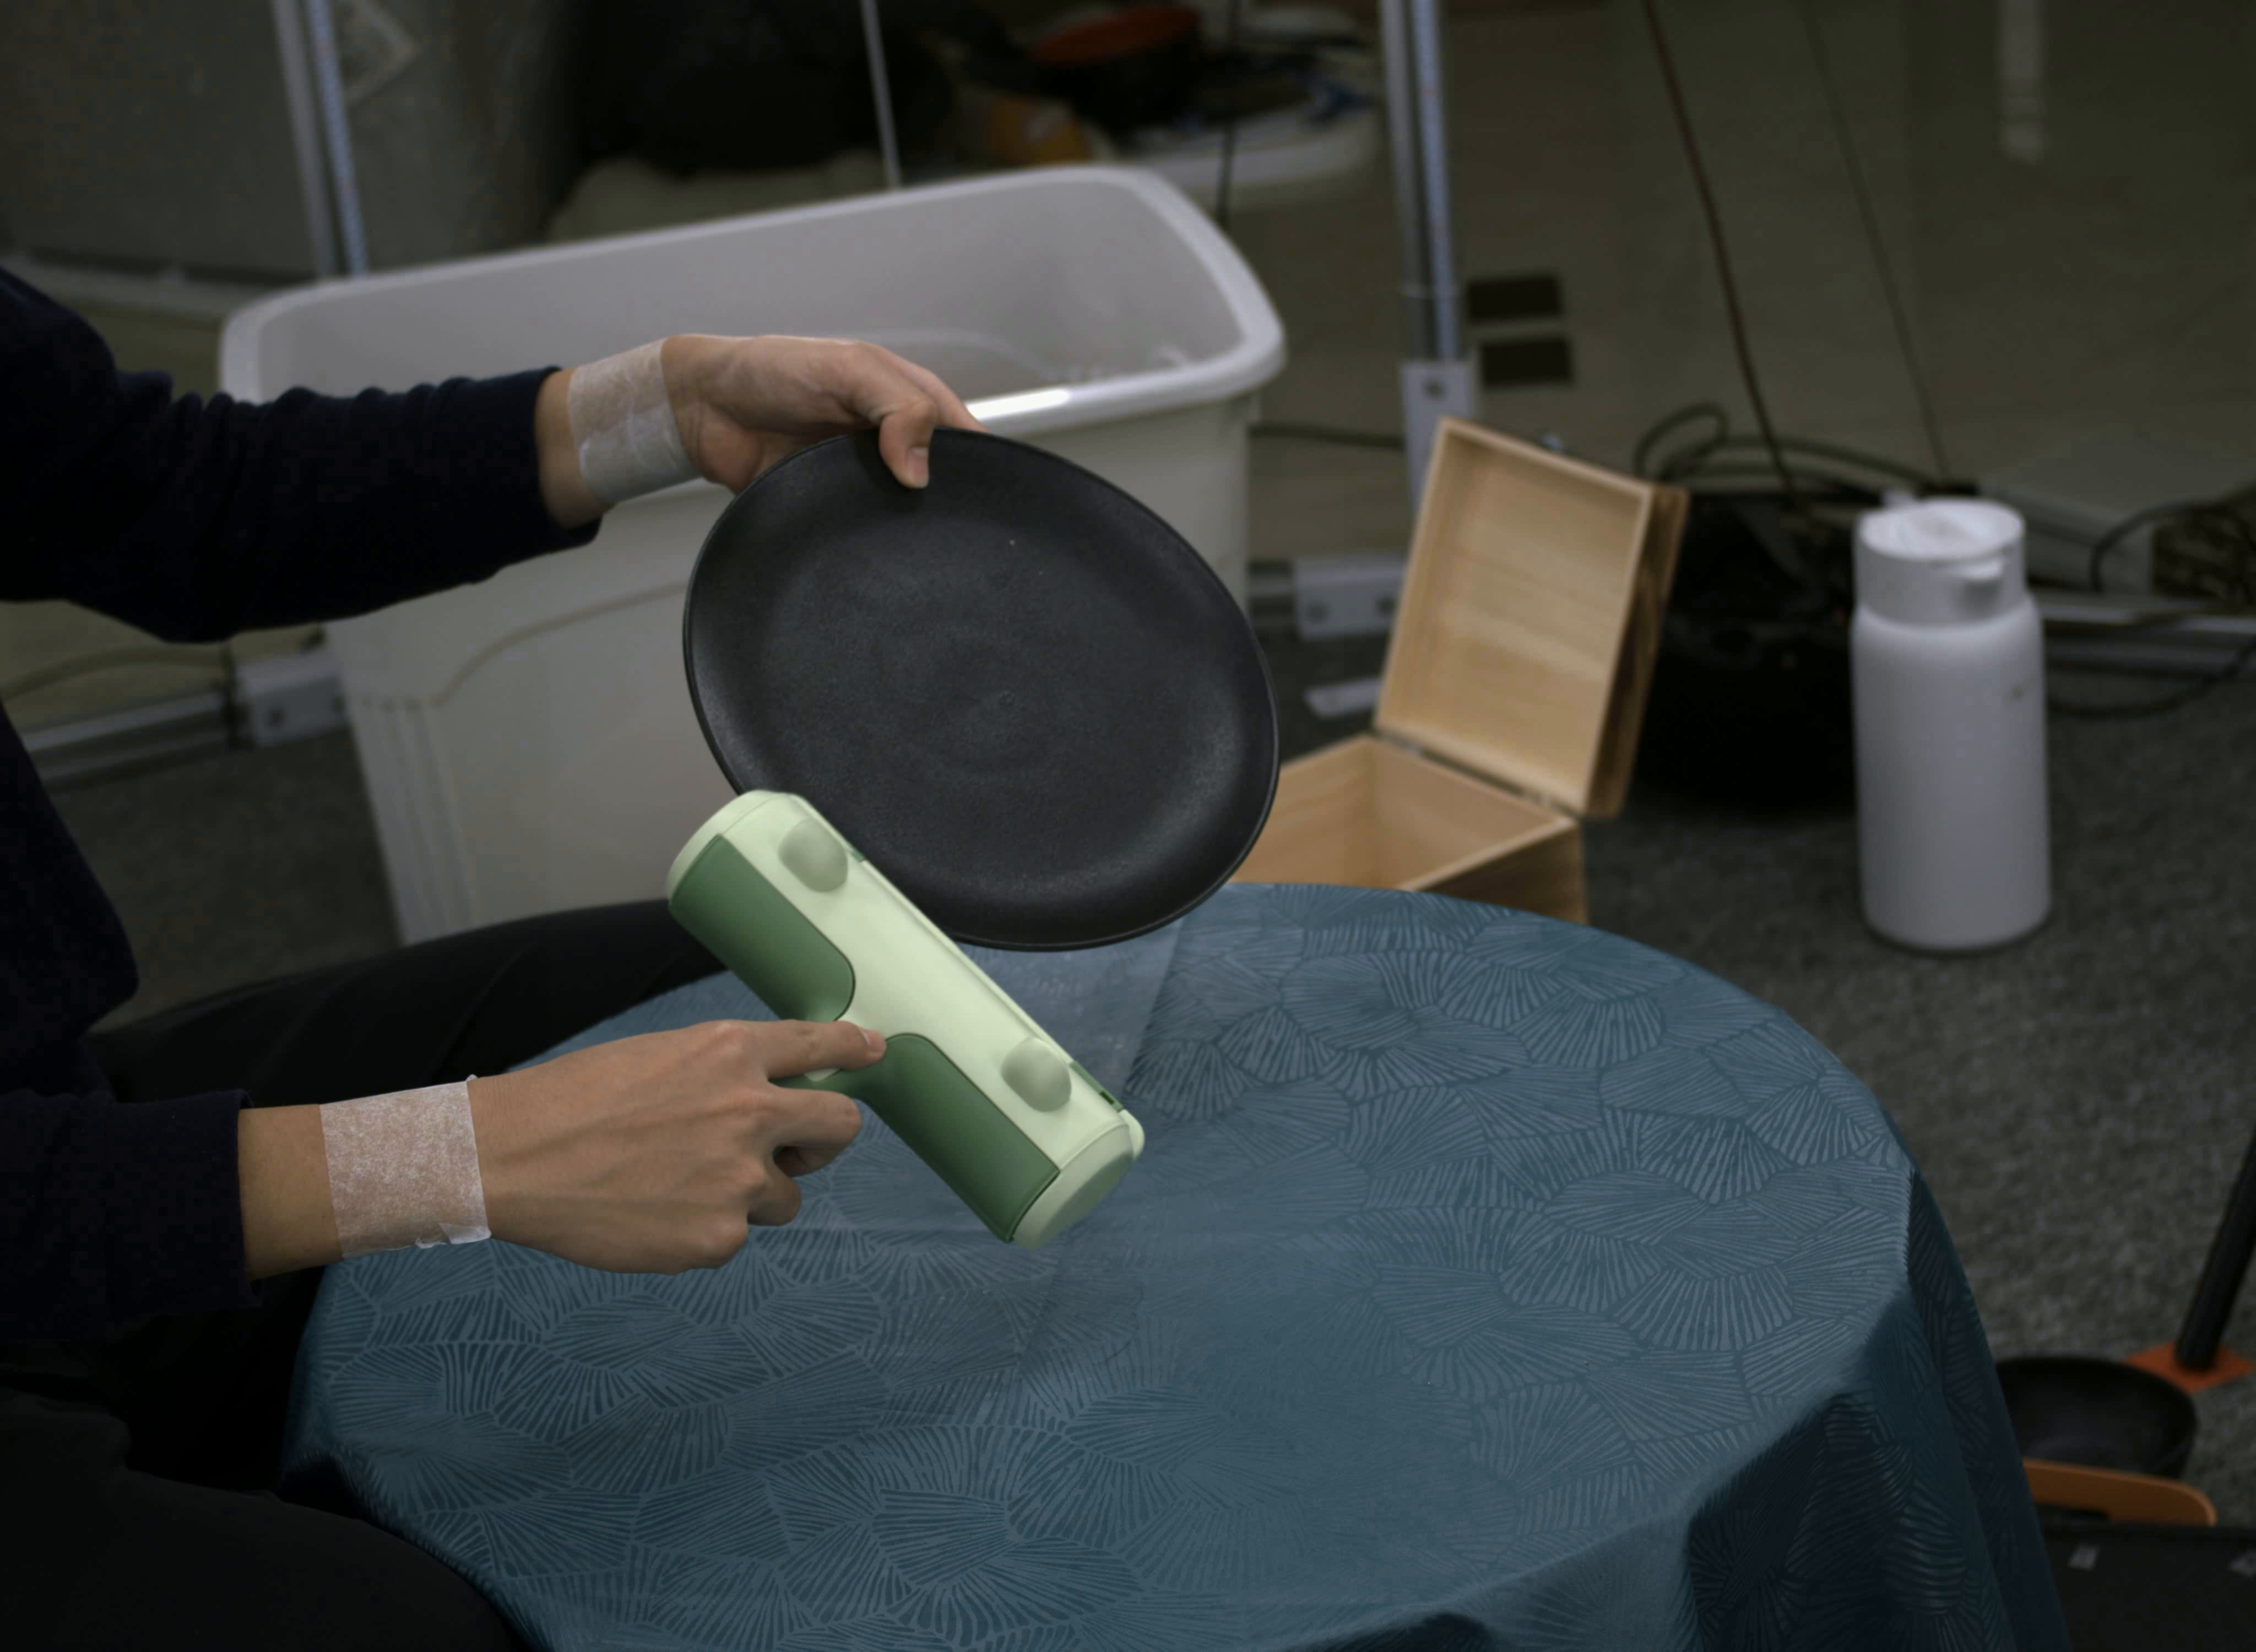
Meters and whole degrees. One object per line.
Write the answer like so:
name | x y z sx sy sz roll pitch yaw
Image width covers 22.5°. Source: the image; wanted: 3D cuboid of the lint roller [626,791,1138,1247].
lint roller | -0.108 0.077 2.009 0.197 0.083 0.182 43 32 12

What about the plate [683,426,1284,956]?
plate | -0.057 -0.051 2.184 0.244 0.024 0.240 11 56 -16
